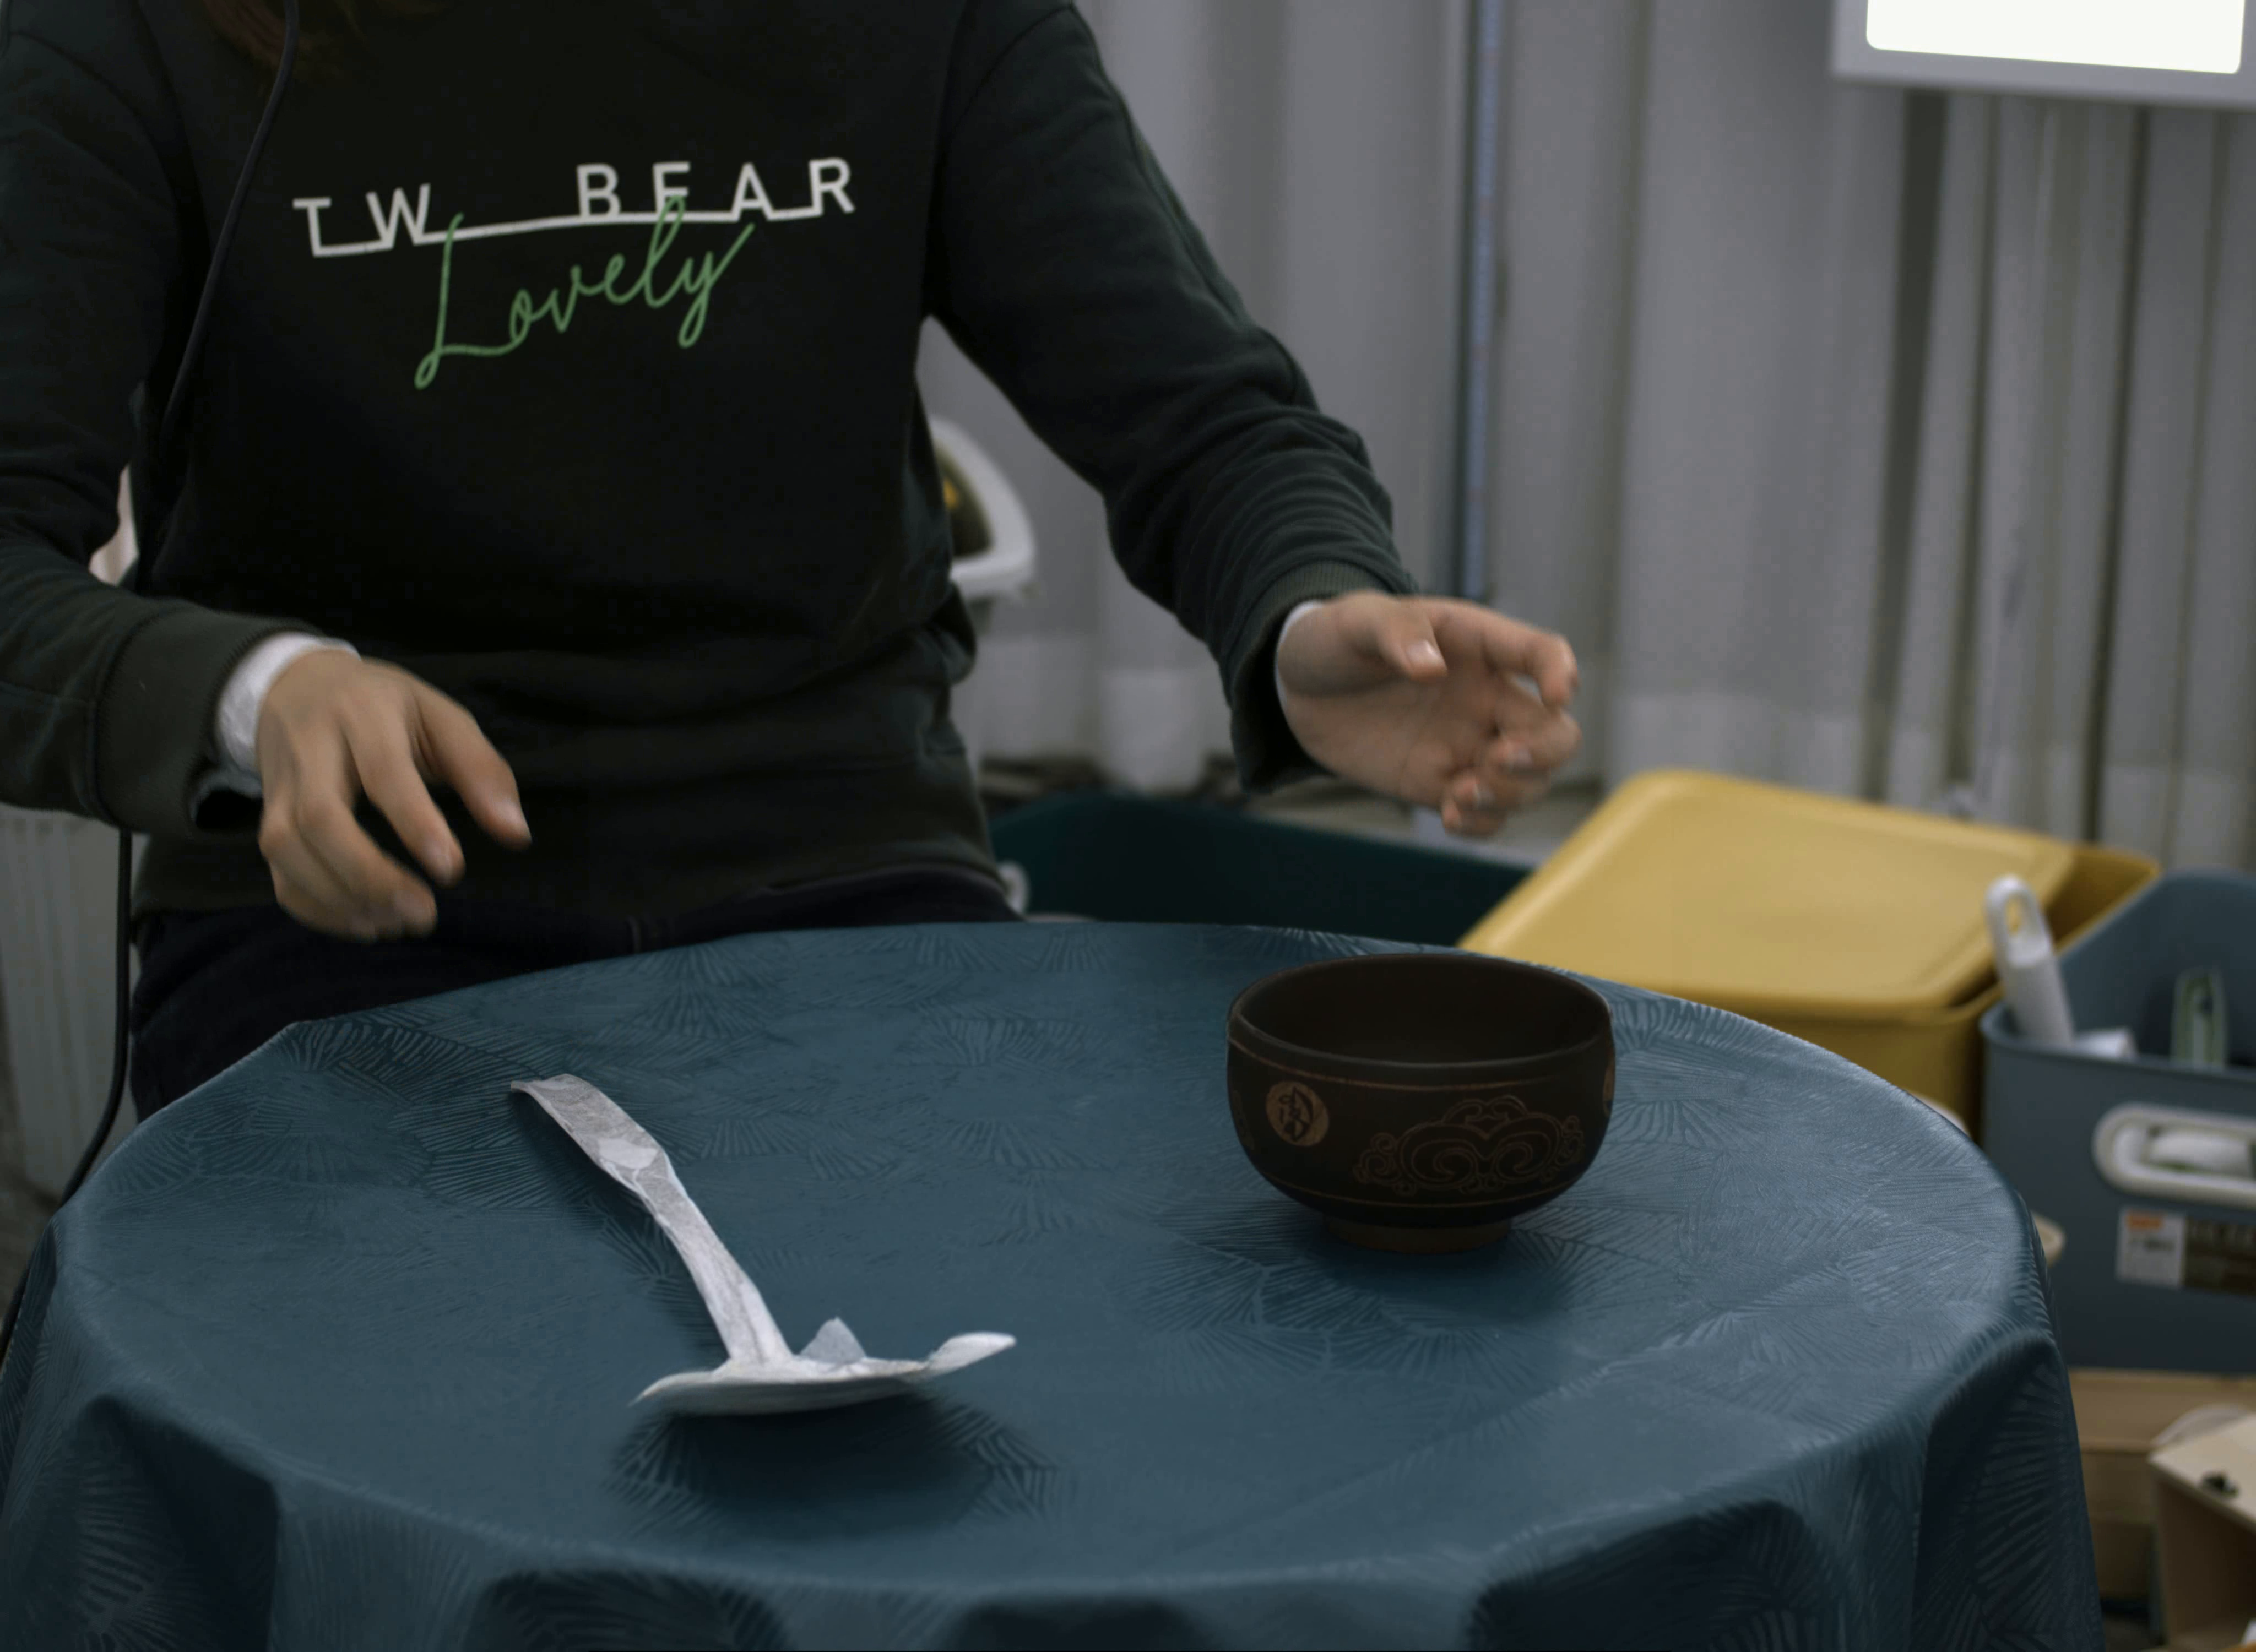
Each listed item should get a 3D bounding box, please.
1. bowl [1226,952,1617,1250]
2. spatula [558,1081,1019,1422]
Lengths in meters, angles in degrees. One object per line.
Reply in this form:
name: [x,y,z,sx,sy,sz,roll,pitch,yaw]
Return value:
bowl: [0.088,0.086,1.591,0.117,0.070,0.117,2,15,0]
spatula: [-0.125,0.115,1.542,0.099,0.045,0.361,-7,18,-17]
